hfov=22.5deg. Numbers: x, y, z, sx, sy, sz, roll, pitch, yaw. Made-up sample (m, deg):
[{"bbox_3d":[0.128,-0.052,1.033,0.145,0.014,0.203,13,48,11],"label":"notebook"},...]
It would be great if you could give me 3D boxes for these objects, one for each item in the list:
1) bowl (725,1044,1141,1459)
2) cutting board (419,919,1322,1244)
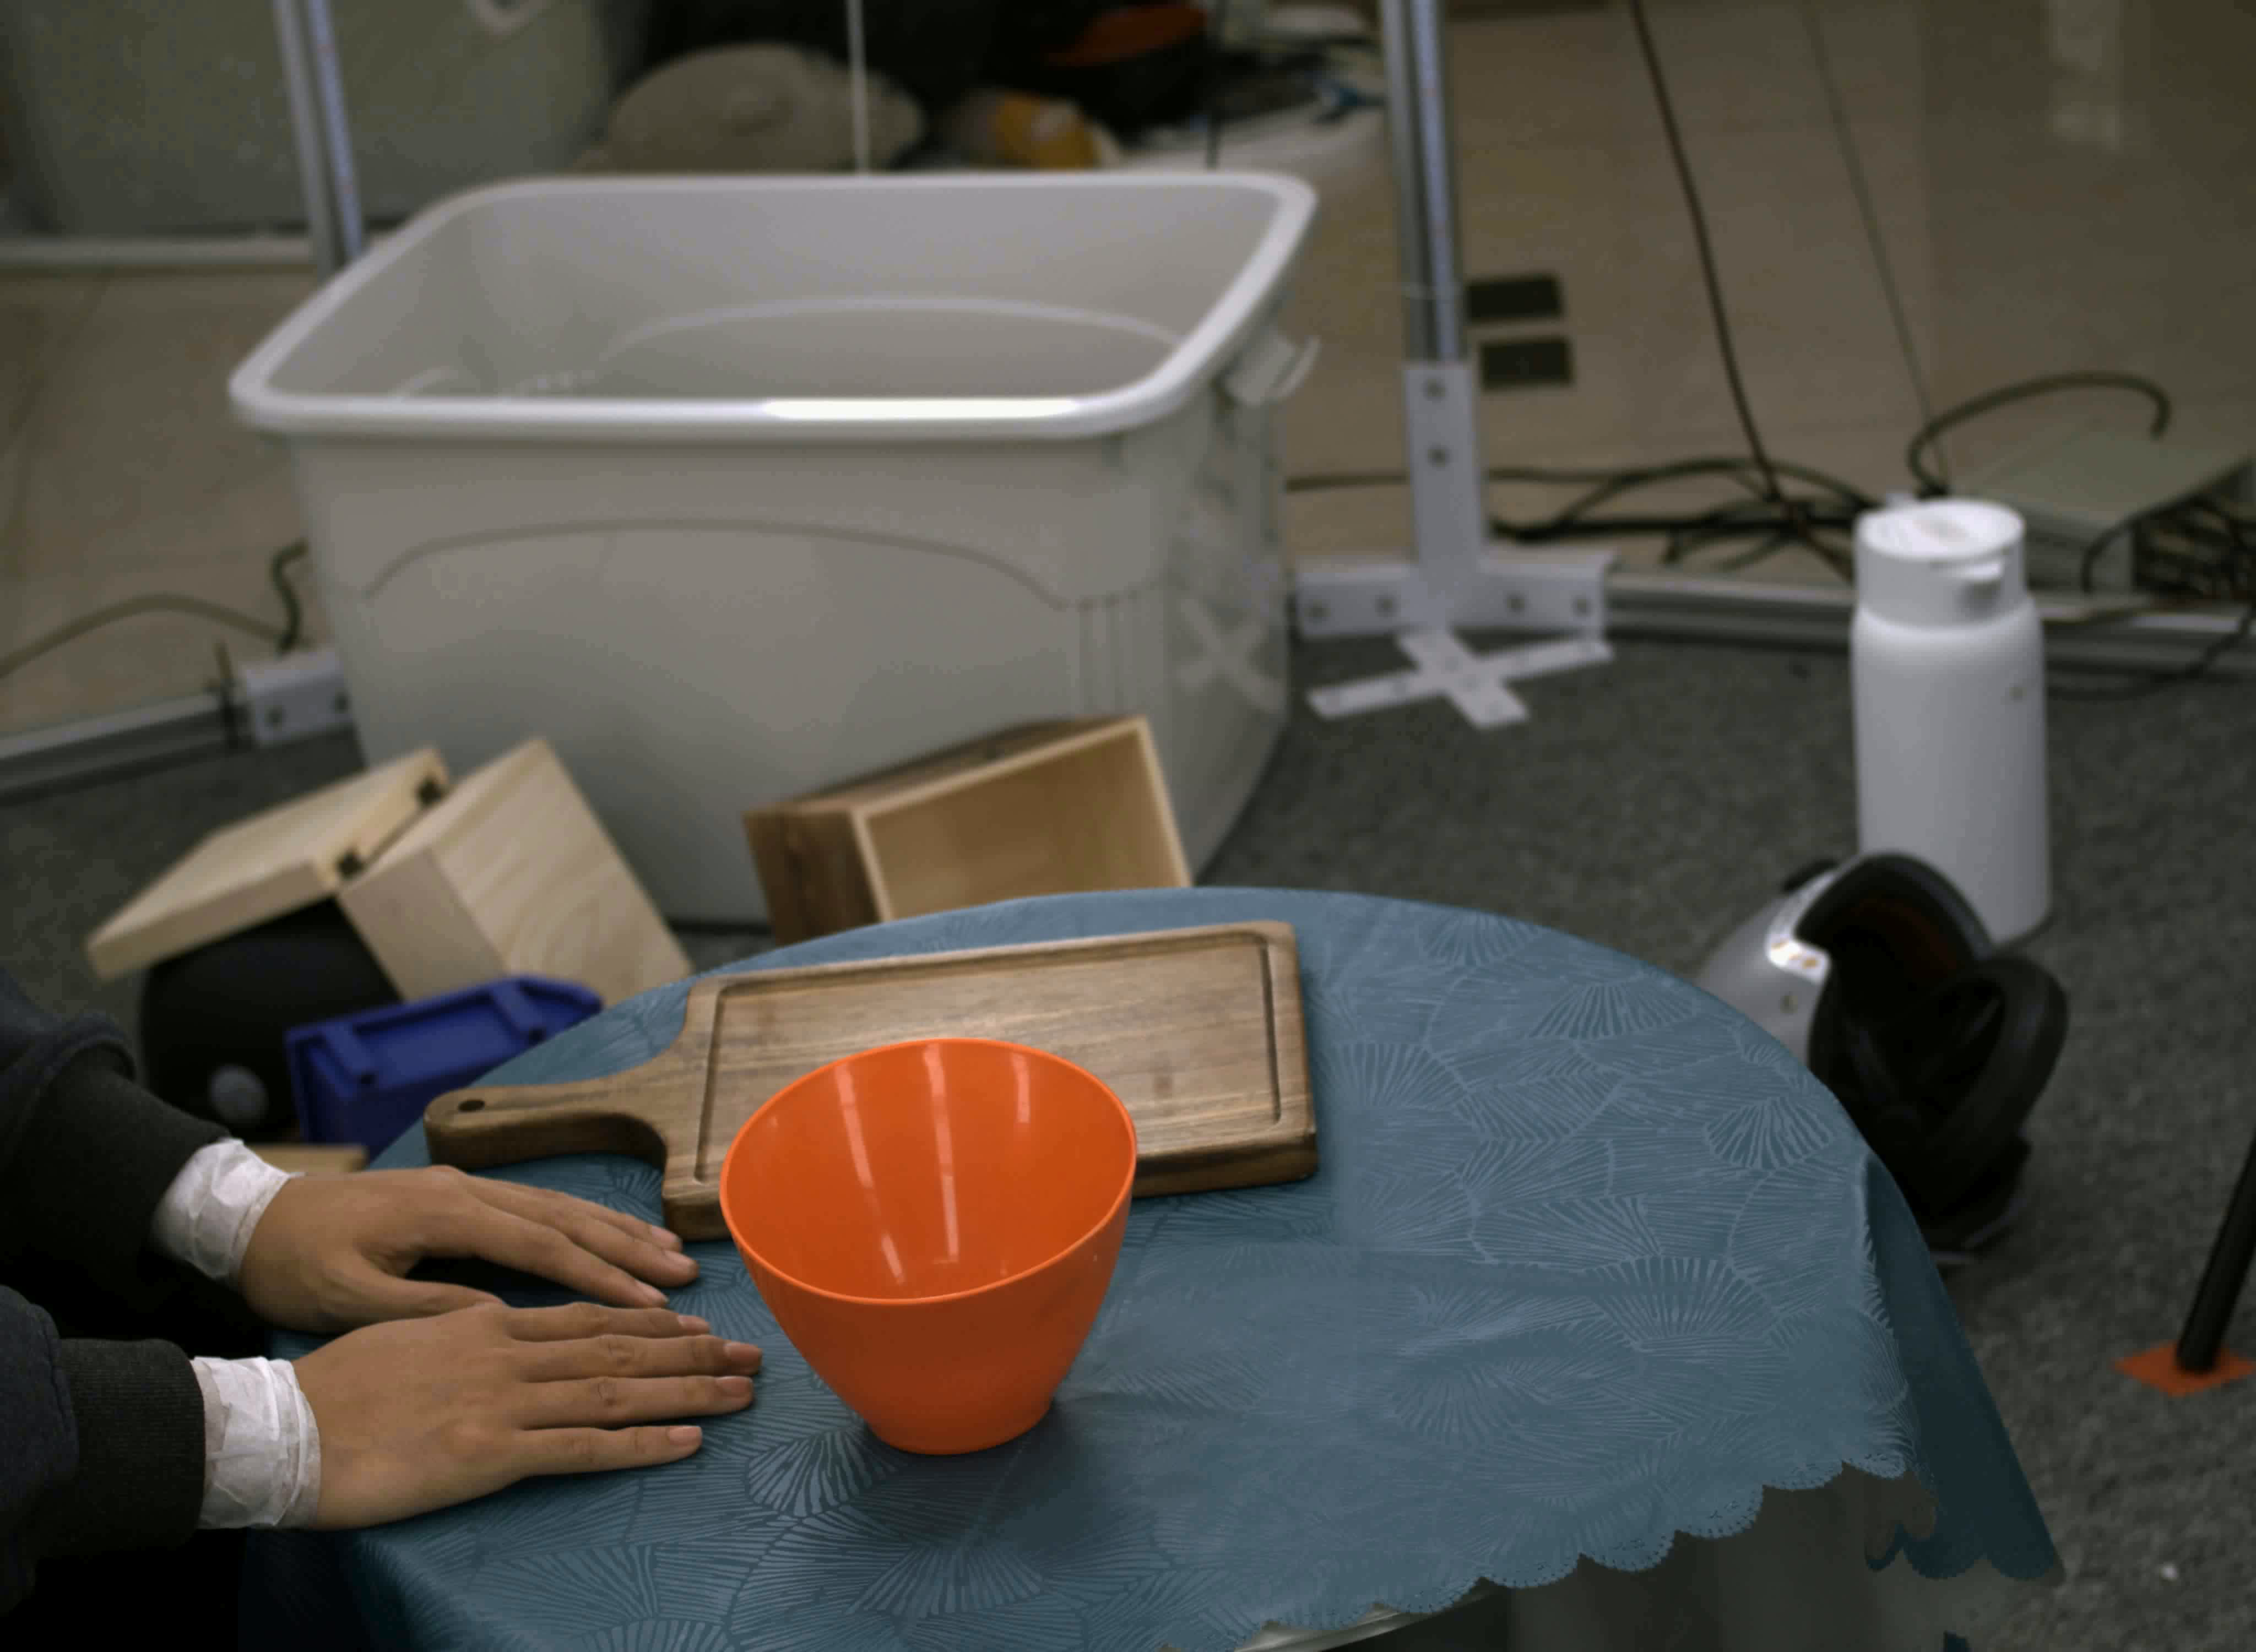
[{"bbox_3d":[-0.064,0.157,2.005,0.148,0.106,0.146,-6,25,3],"label":"bowl"},{"bbox_3d":[-0.103,0.103,2.227,0.351,0.023,0.198,-6,25,2],"label":"cutting board"}]
